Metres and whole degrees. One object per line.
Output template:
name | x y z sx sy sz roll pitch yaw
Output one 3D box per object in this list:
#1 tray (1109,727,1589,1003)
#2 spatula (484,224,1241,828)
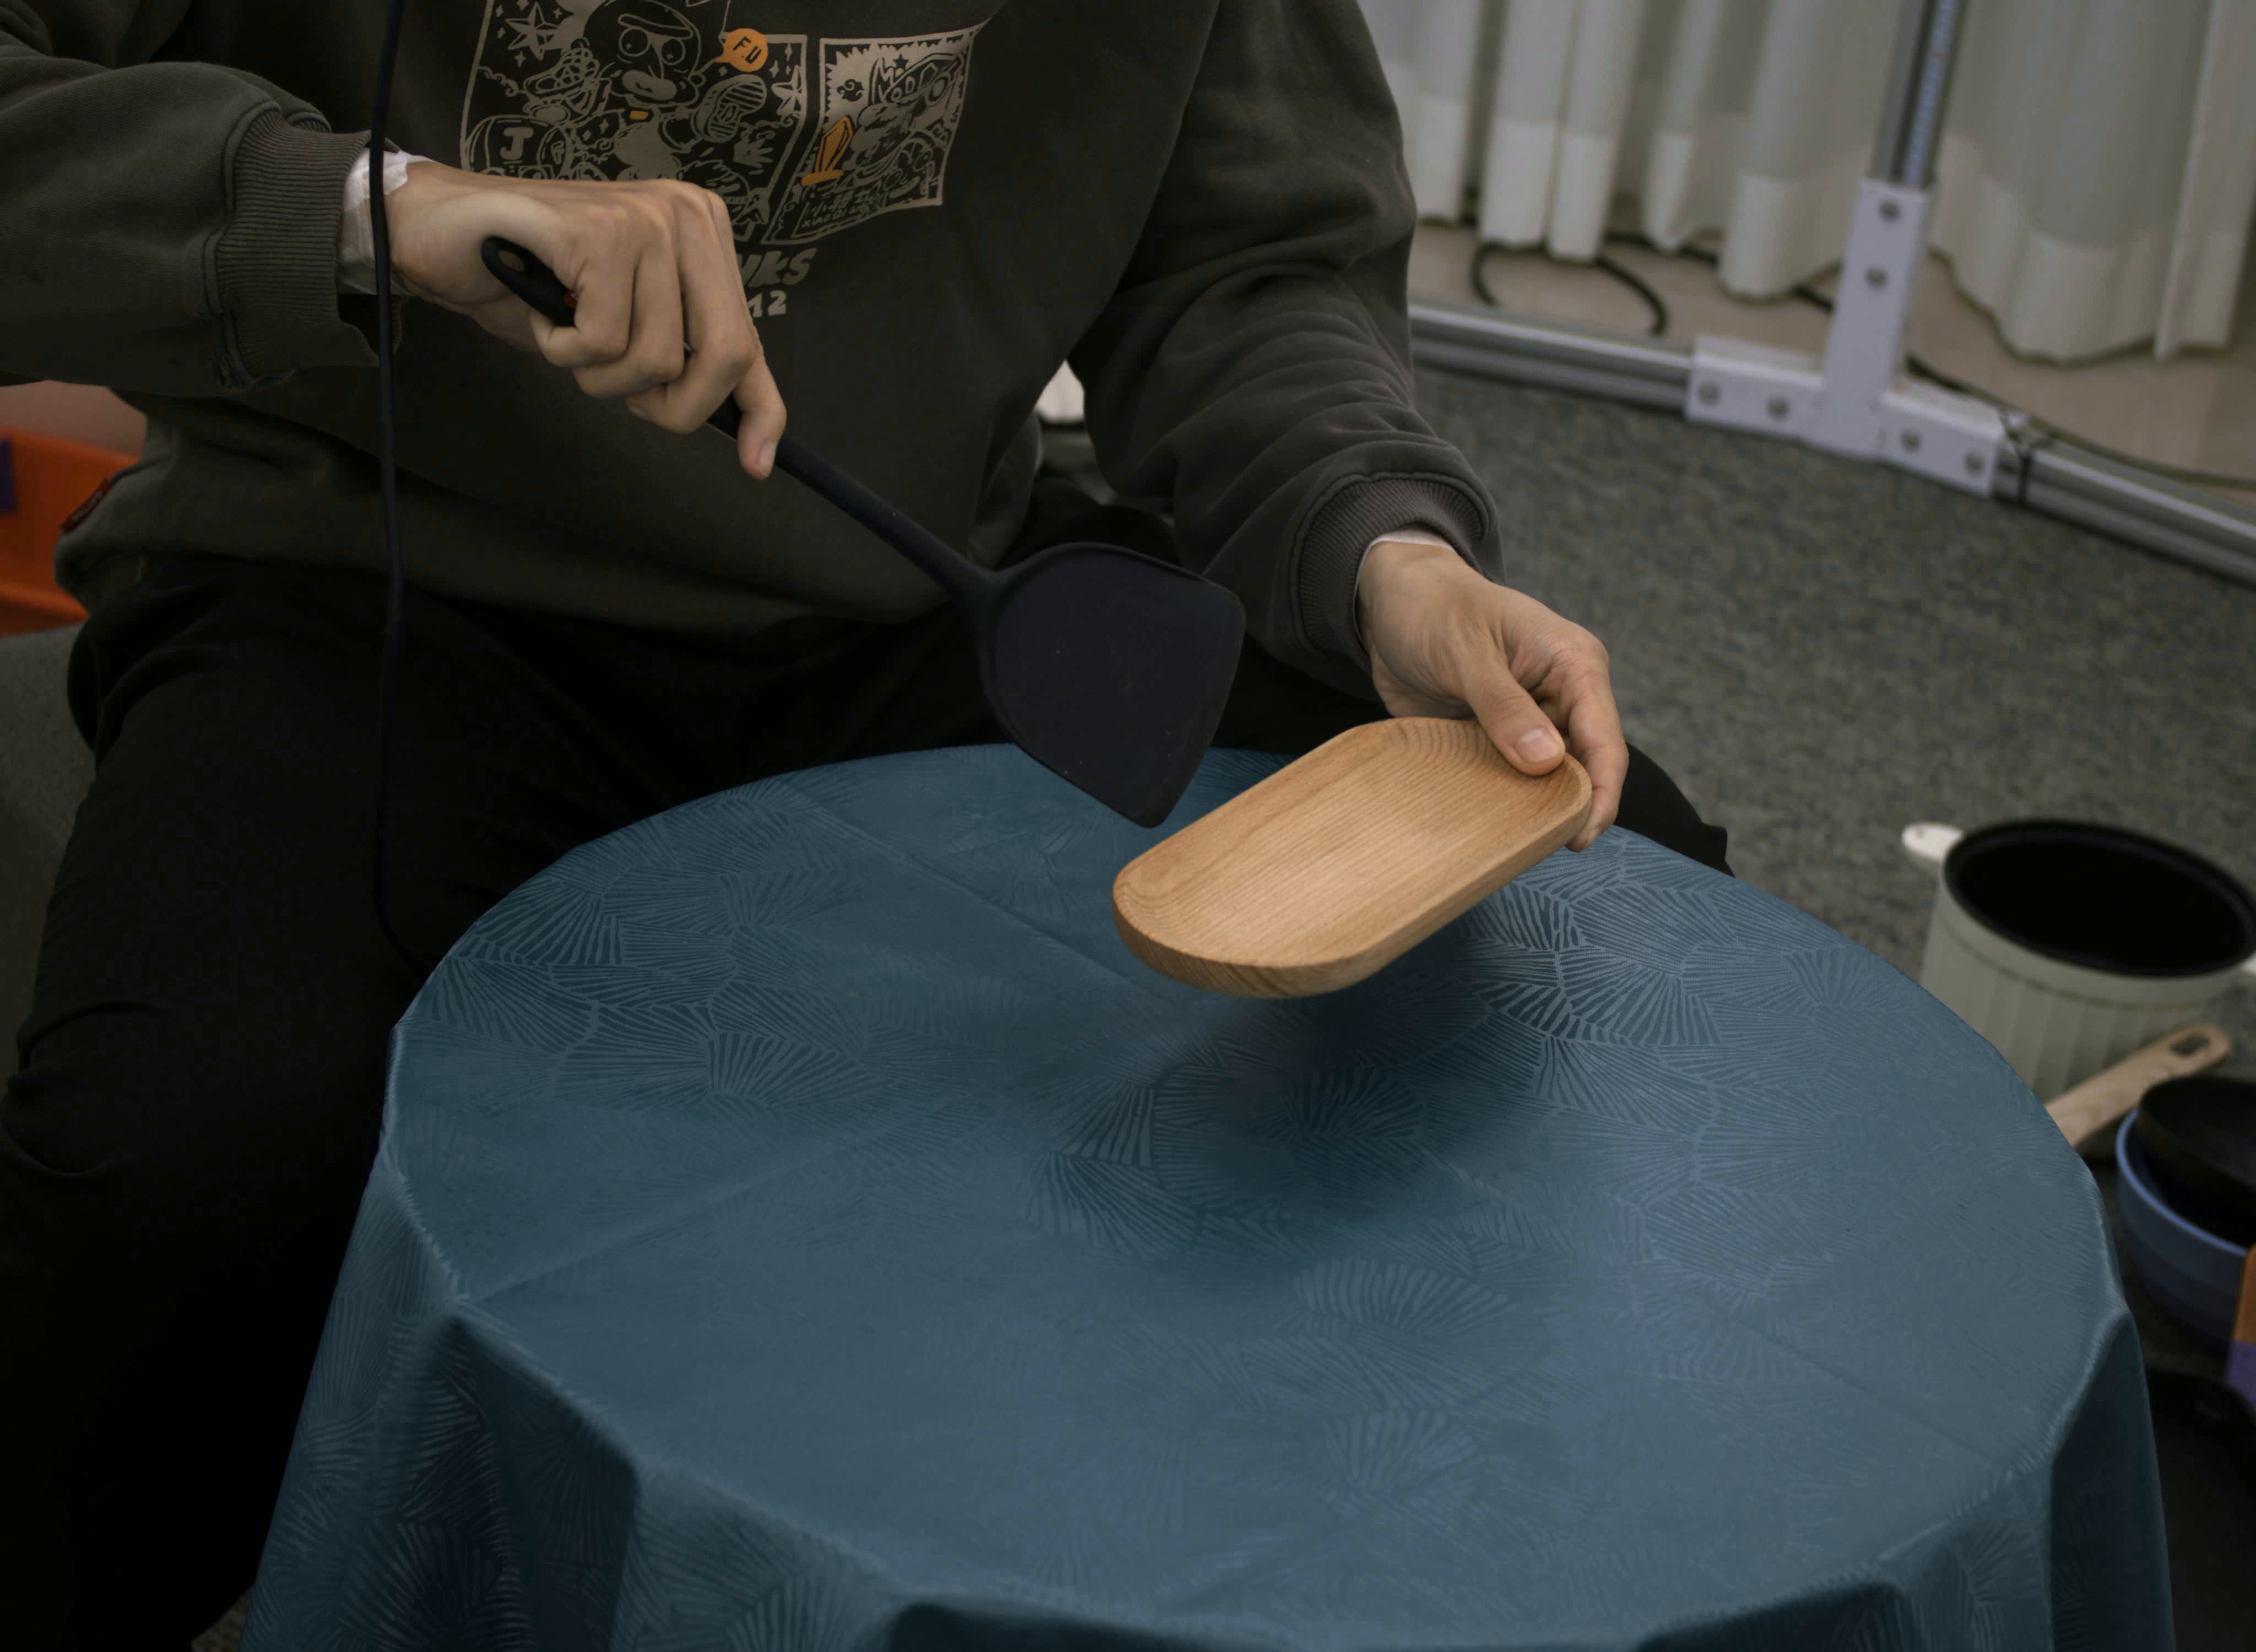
tray | 0.080 0.012 1.881 0.102 0.020 0.230 18 30 29
spatula | -0.093 -0.116 1.843 0.323 0.100 0.040 36 -28 -31
